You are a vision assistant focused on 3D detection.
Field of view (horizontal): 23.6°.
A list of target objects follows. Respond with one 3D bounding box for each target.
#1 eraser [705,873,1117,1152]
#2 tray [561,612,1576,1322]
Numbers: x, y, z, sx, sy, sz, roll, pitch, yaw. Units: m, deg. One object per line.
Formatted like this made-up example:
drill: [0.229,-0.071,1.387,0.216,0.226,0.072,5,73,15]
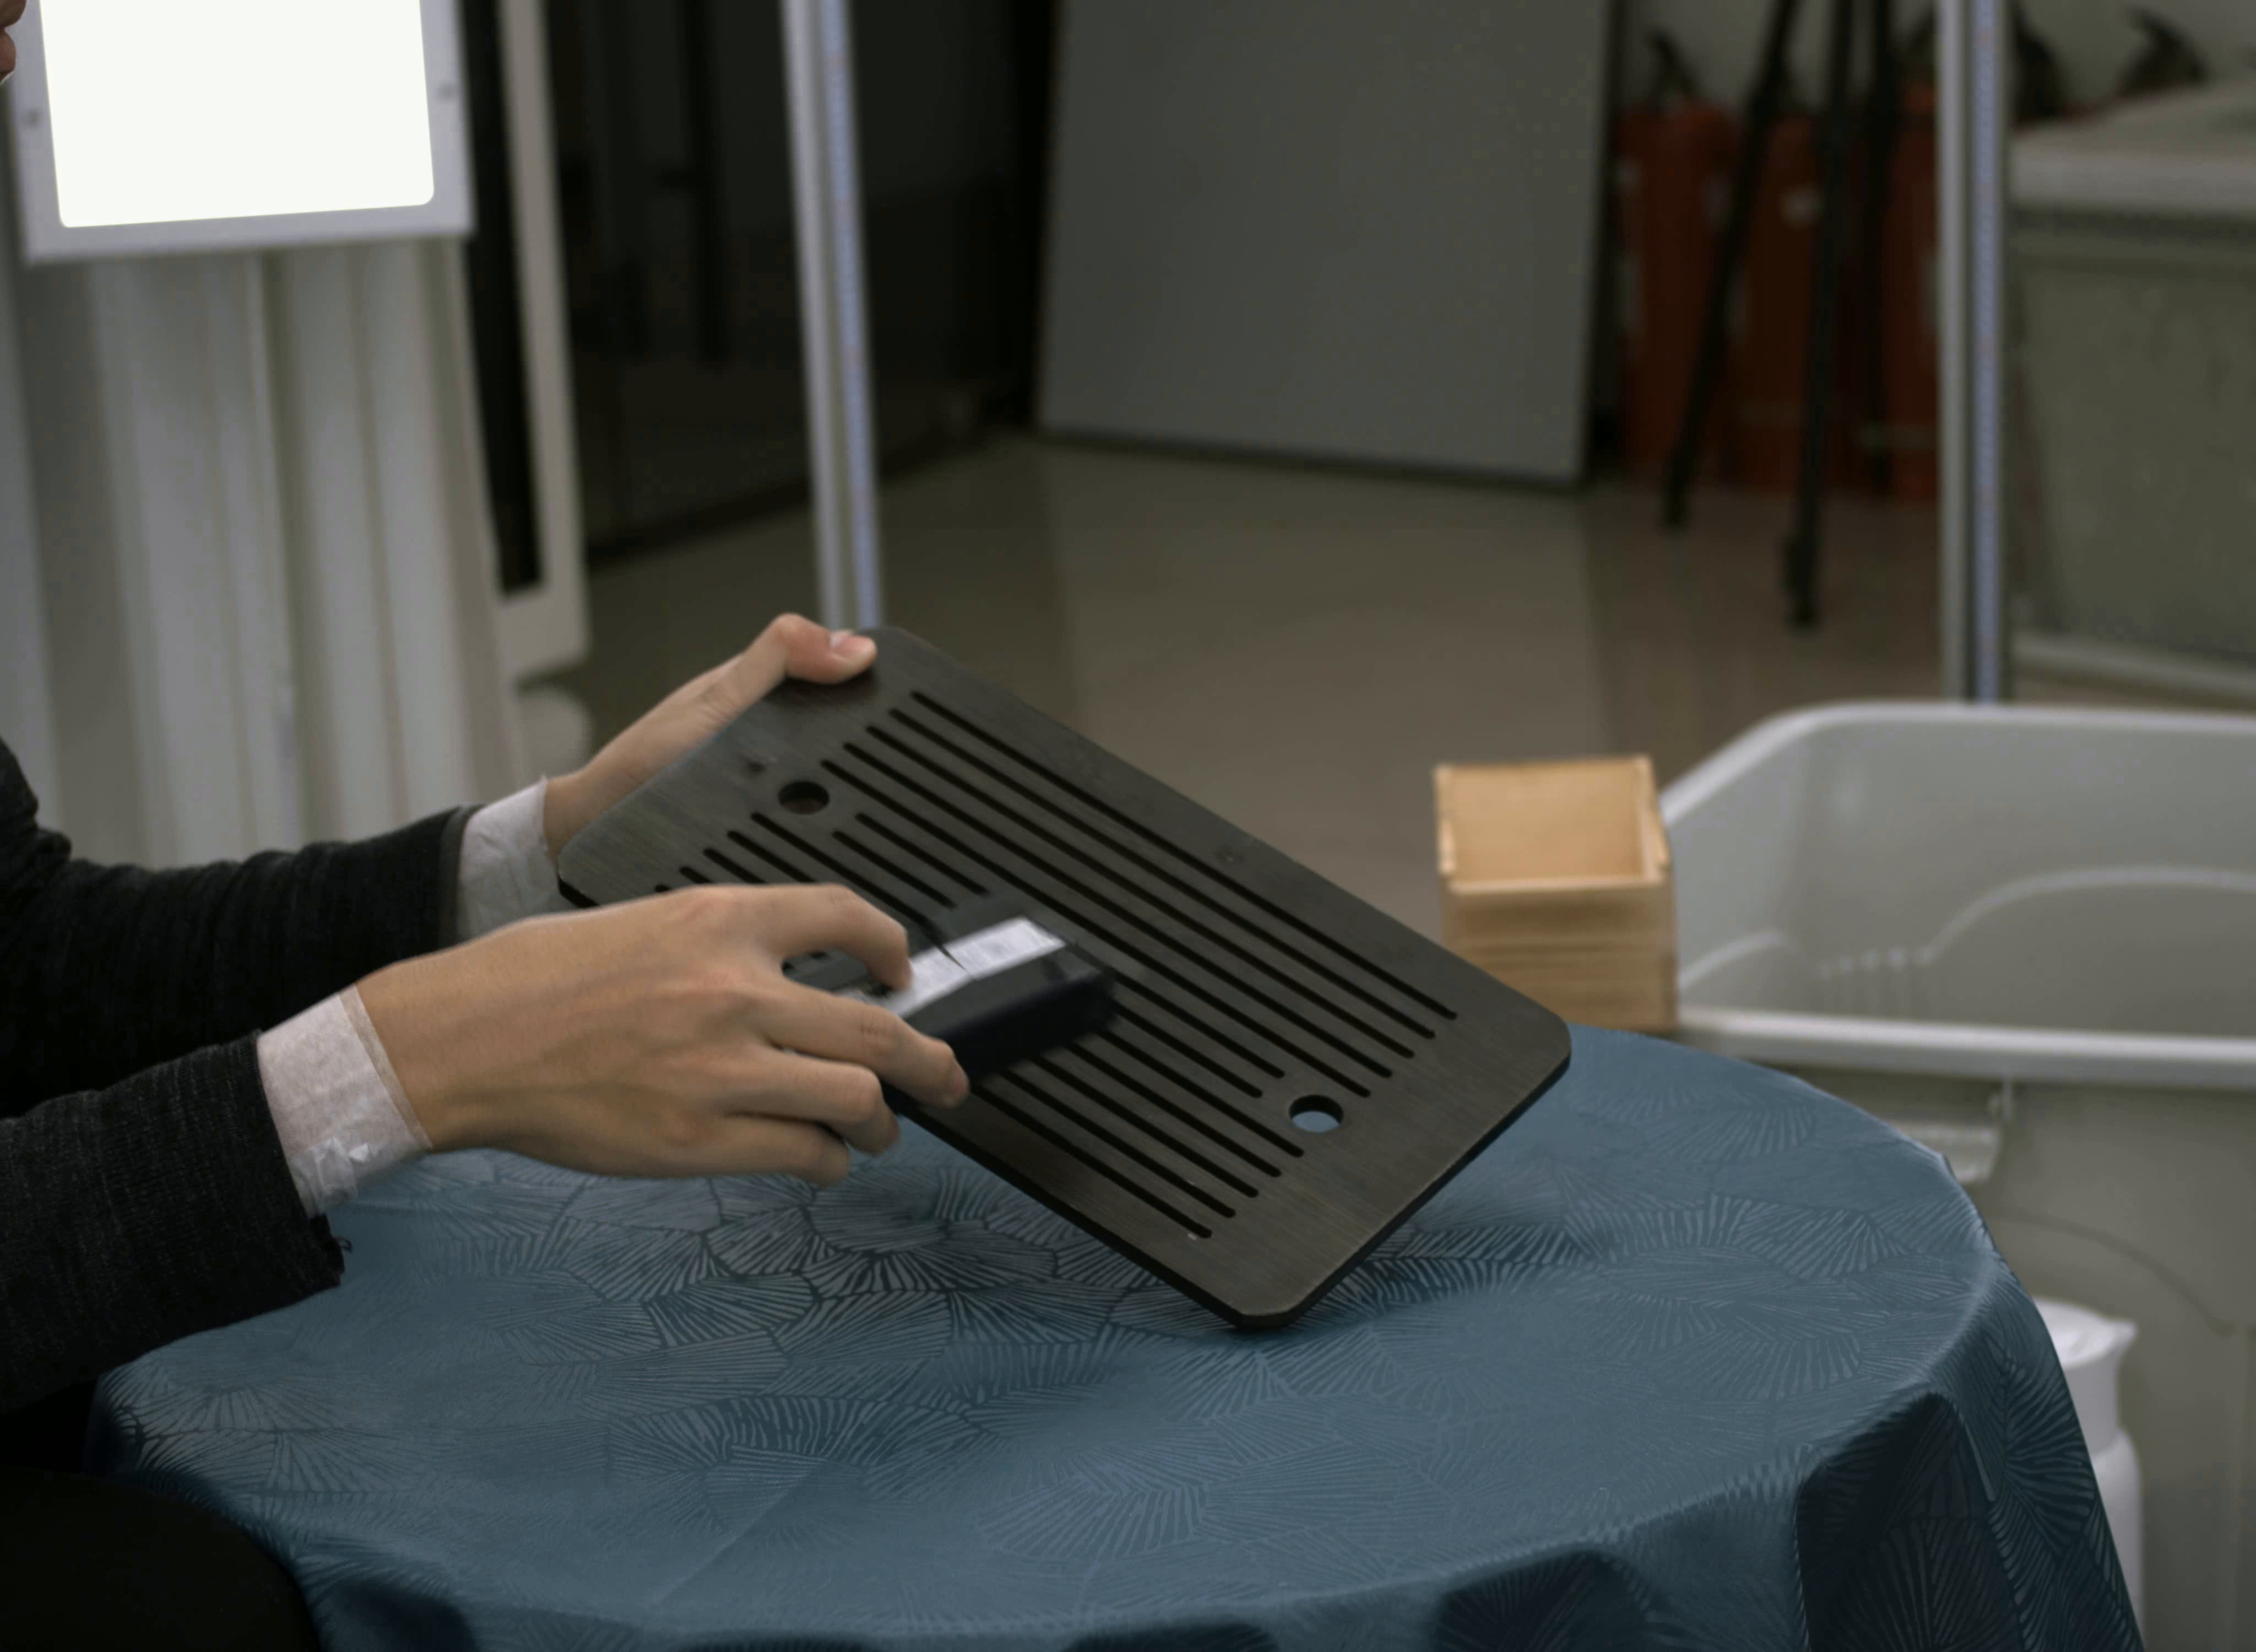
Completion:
eraser: [-0.065,0.055,1.632,0.123,0.031,0.054,-24,45,-36]
tray: [-0.021,0.041,1.736,0.308,0.019,0.168,31,50,27]
